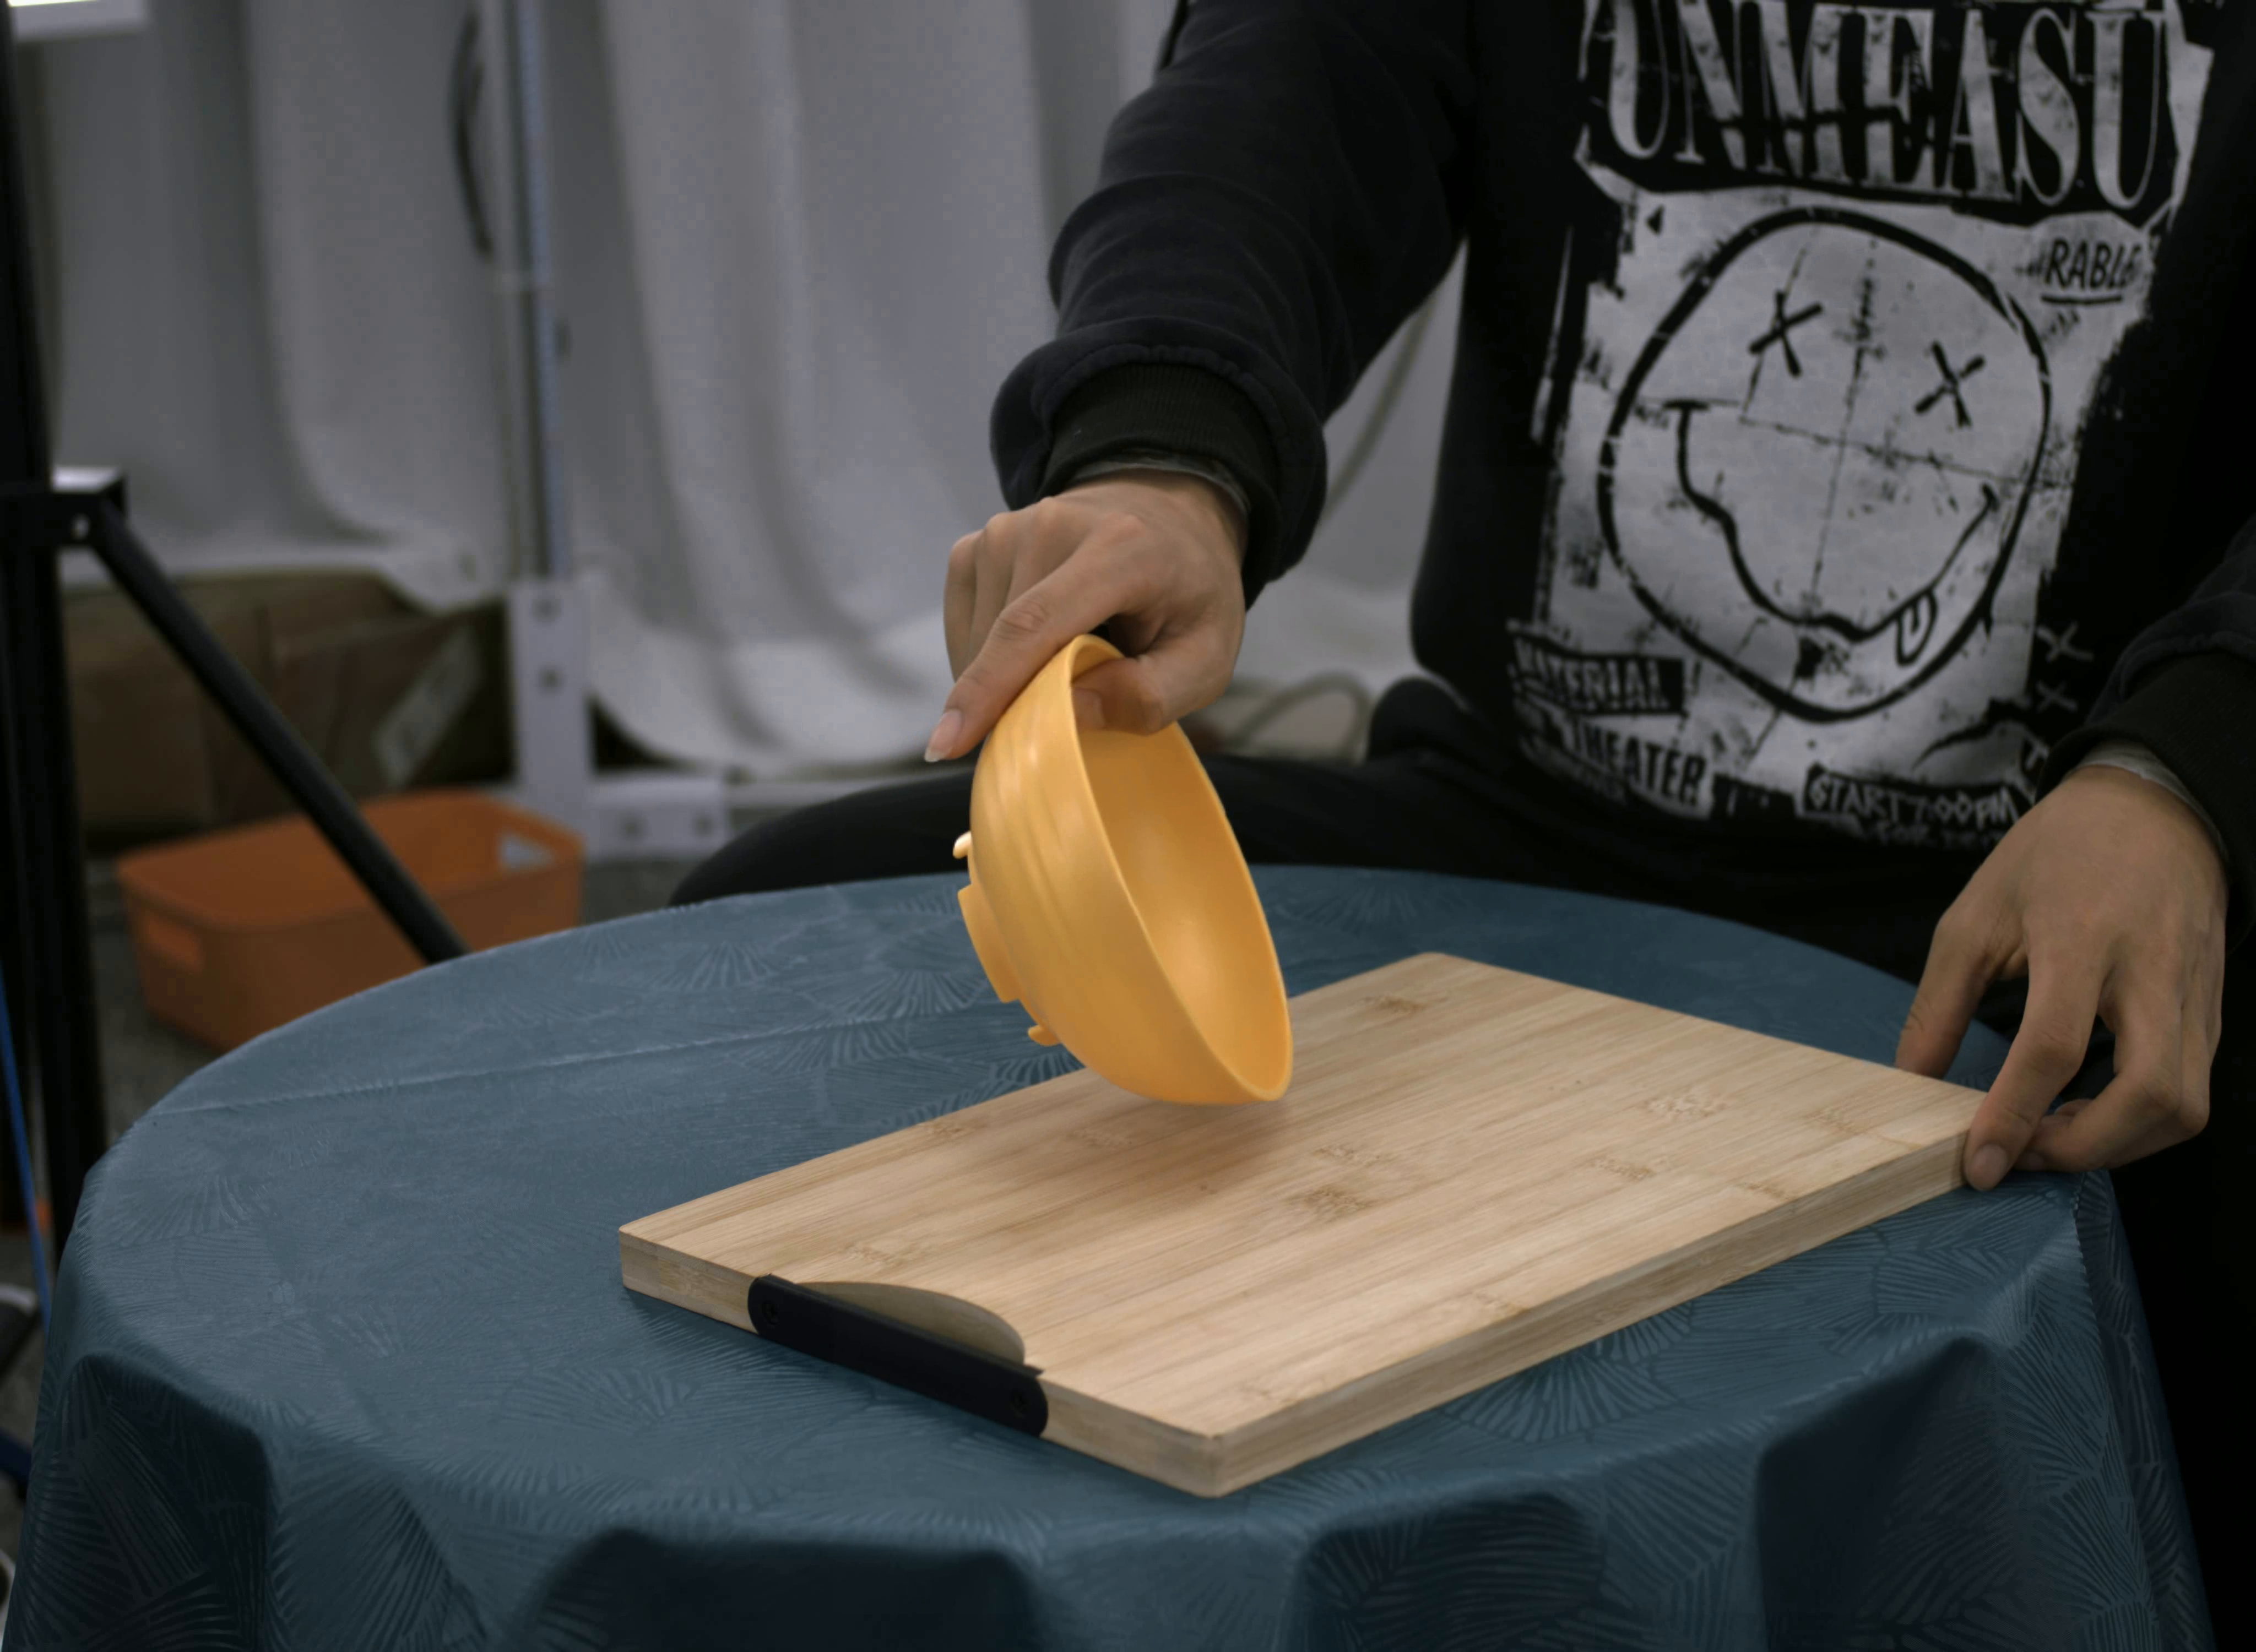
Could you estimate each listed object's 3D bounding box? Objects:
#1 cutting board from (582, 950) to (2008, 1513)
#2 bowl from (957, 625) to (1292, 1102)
[{"bbox_3d":[0.054,0.108,1.520,0.341,0.023,0.256,-17,21,-41],"label":"cutting board"},{"bbox_3d":[-0.008,0.020,1.530,0.060,0.145,0.145,-23,10,16],"label":"bowl"}]
